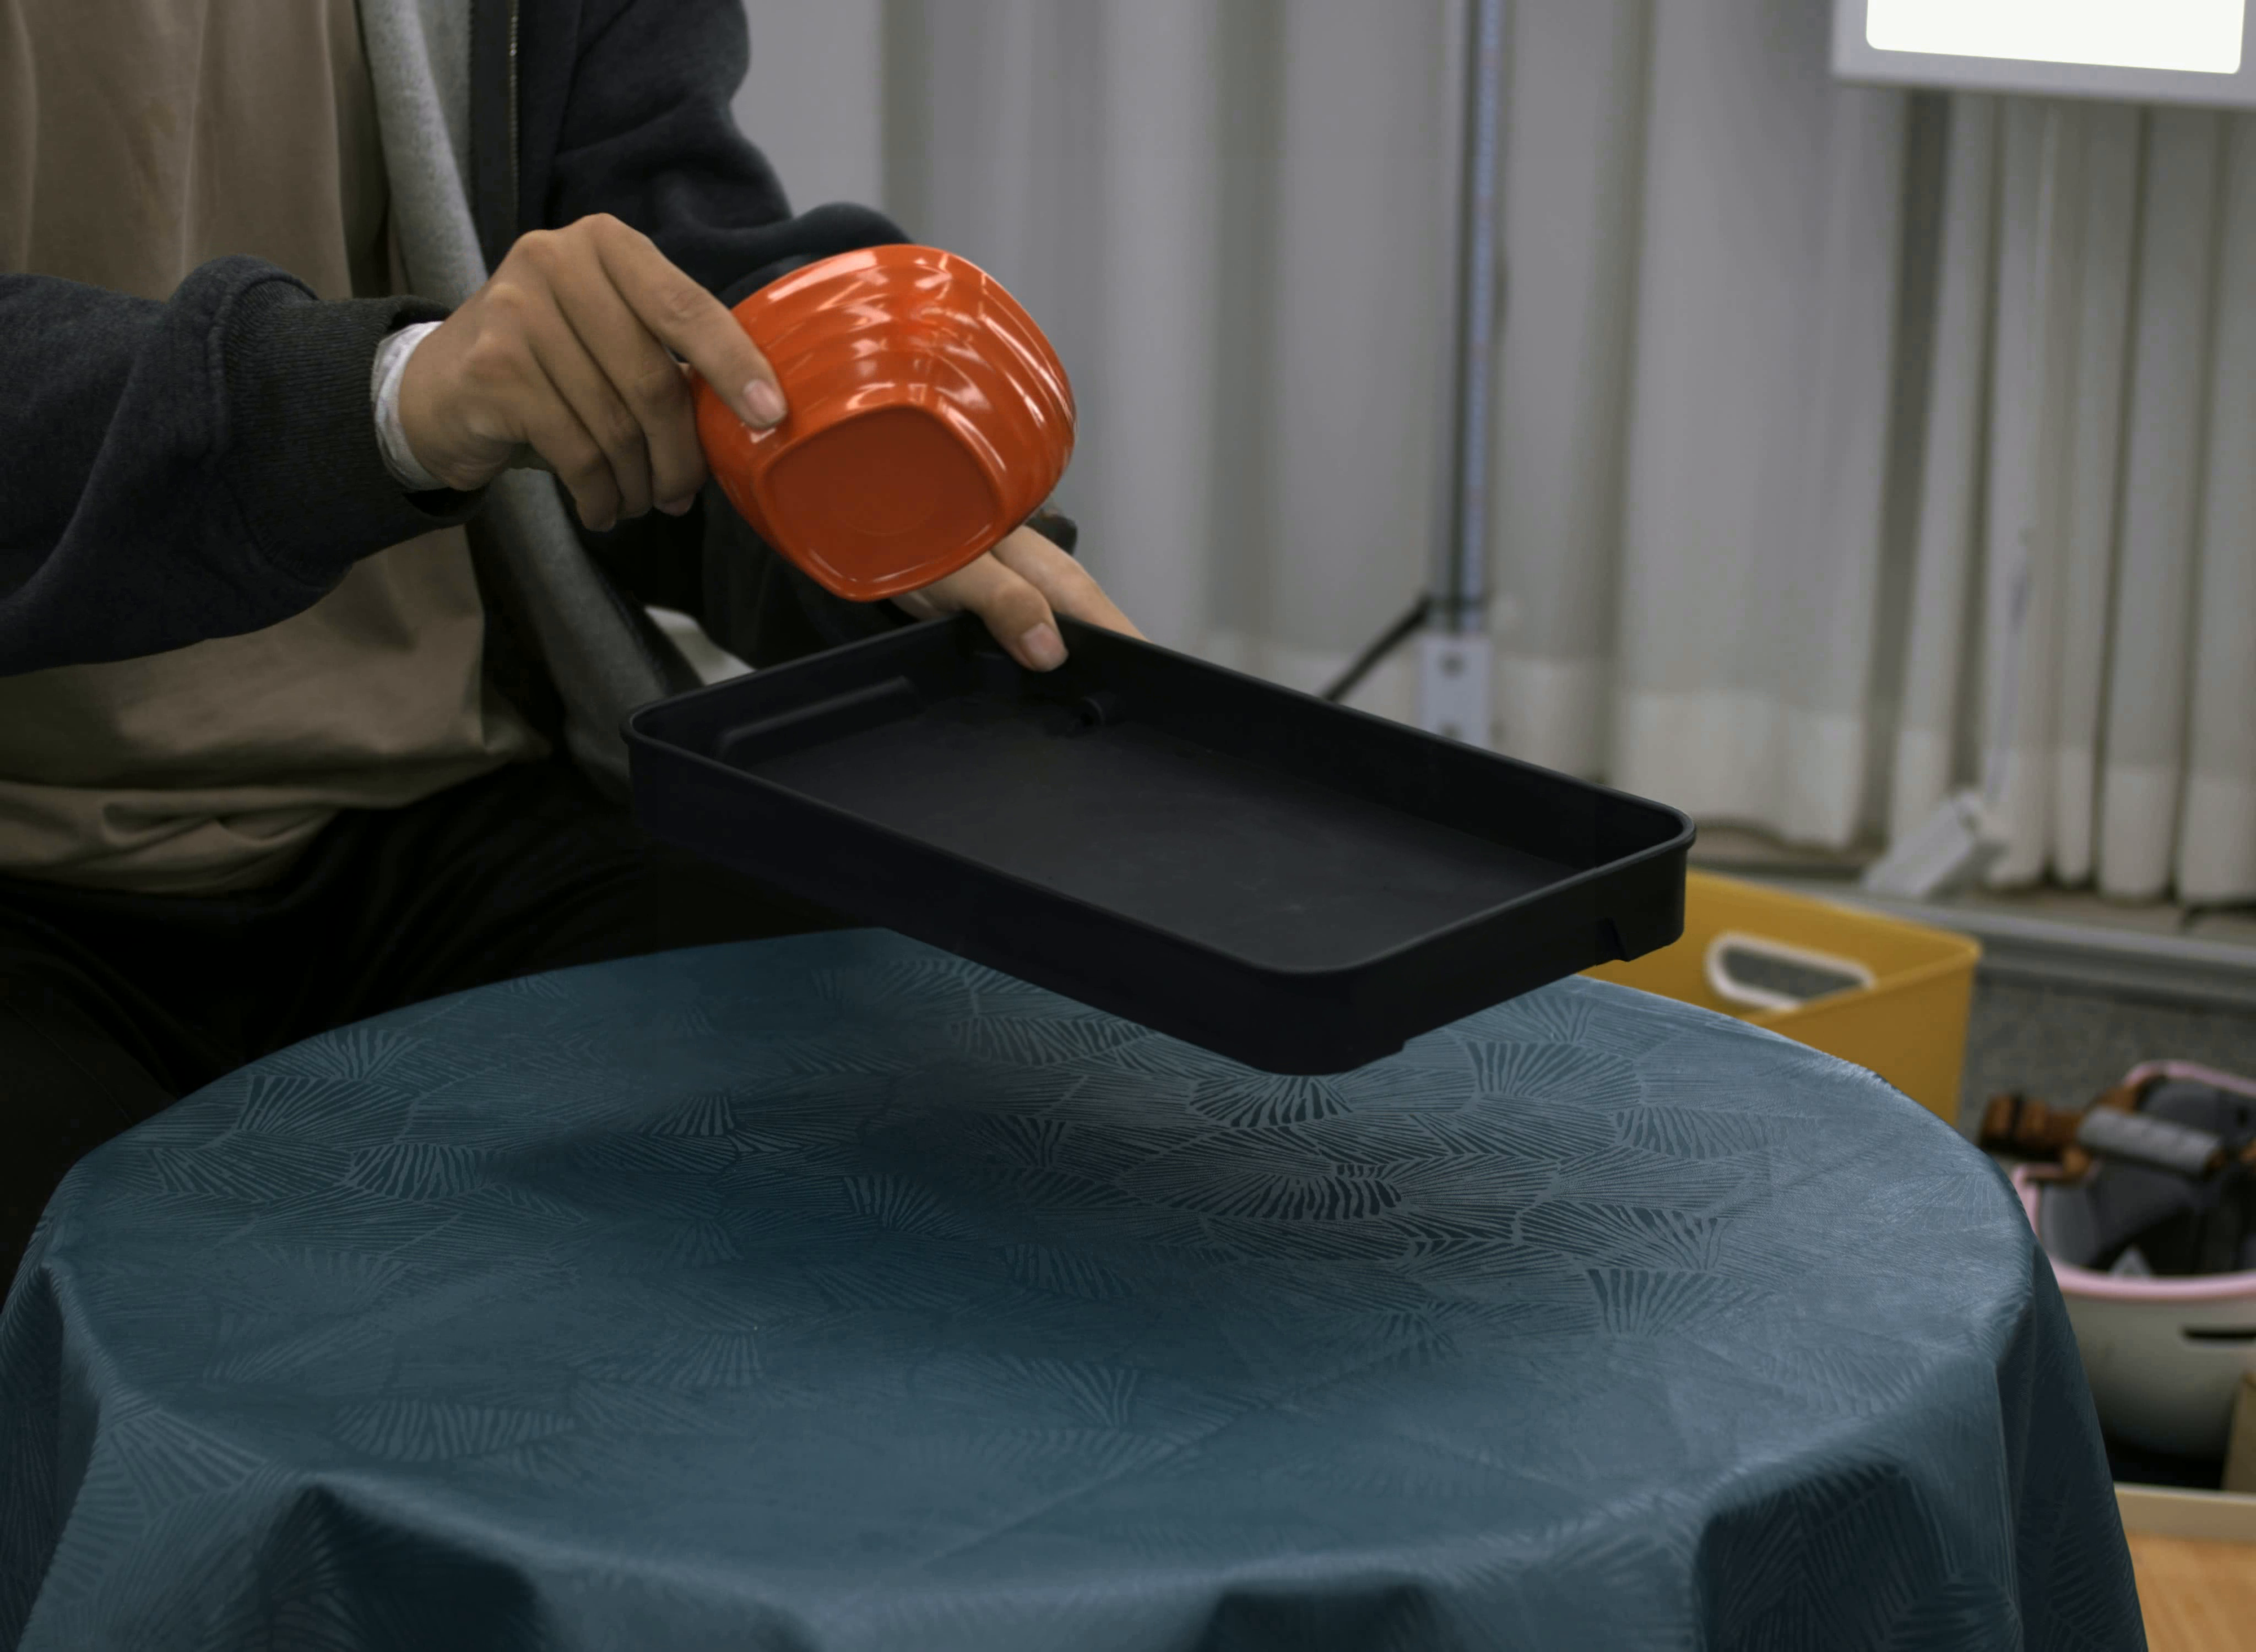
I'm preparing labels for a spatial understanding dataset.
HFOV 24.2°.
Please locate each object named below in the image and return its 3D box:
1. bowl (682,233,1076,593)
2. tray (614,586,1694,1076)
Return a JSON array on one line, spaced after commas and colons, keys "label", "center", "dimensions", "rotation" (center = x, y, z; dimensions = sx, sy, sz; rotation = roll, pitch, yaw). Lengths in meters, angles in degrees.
[{"label": "bowl", "center": [-0.073, -0.112, 1.547], "dimensions": [0.118, 0.120, 0.051], "rotation": [0, 44, -3]}, {"label": "tray", "center": [0.004, -0.004, 1.630], "dimensions": [0.313, 0.037, 0.185], "rotation": [21, 28, 41]}]
